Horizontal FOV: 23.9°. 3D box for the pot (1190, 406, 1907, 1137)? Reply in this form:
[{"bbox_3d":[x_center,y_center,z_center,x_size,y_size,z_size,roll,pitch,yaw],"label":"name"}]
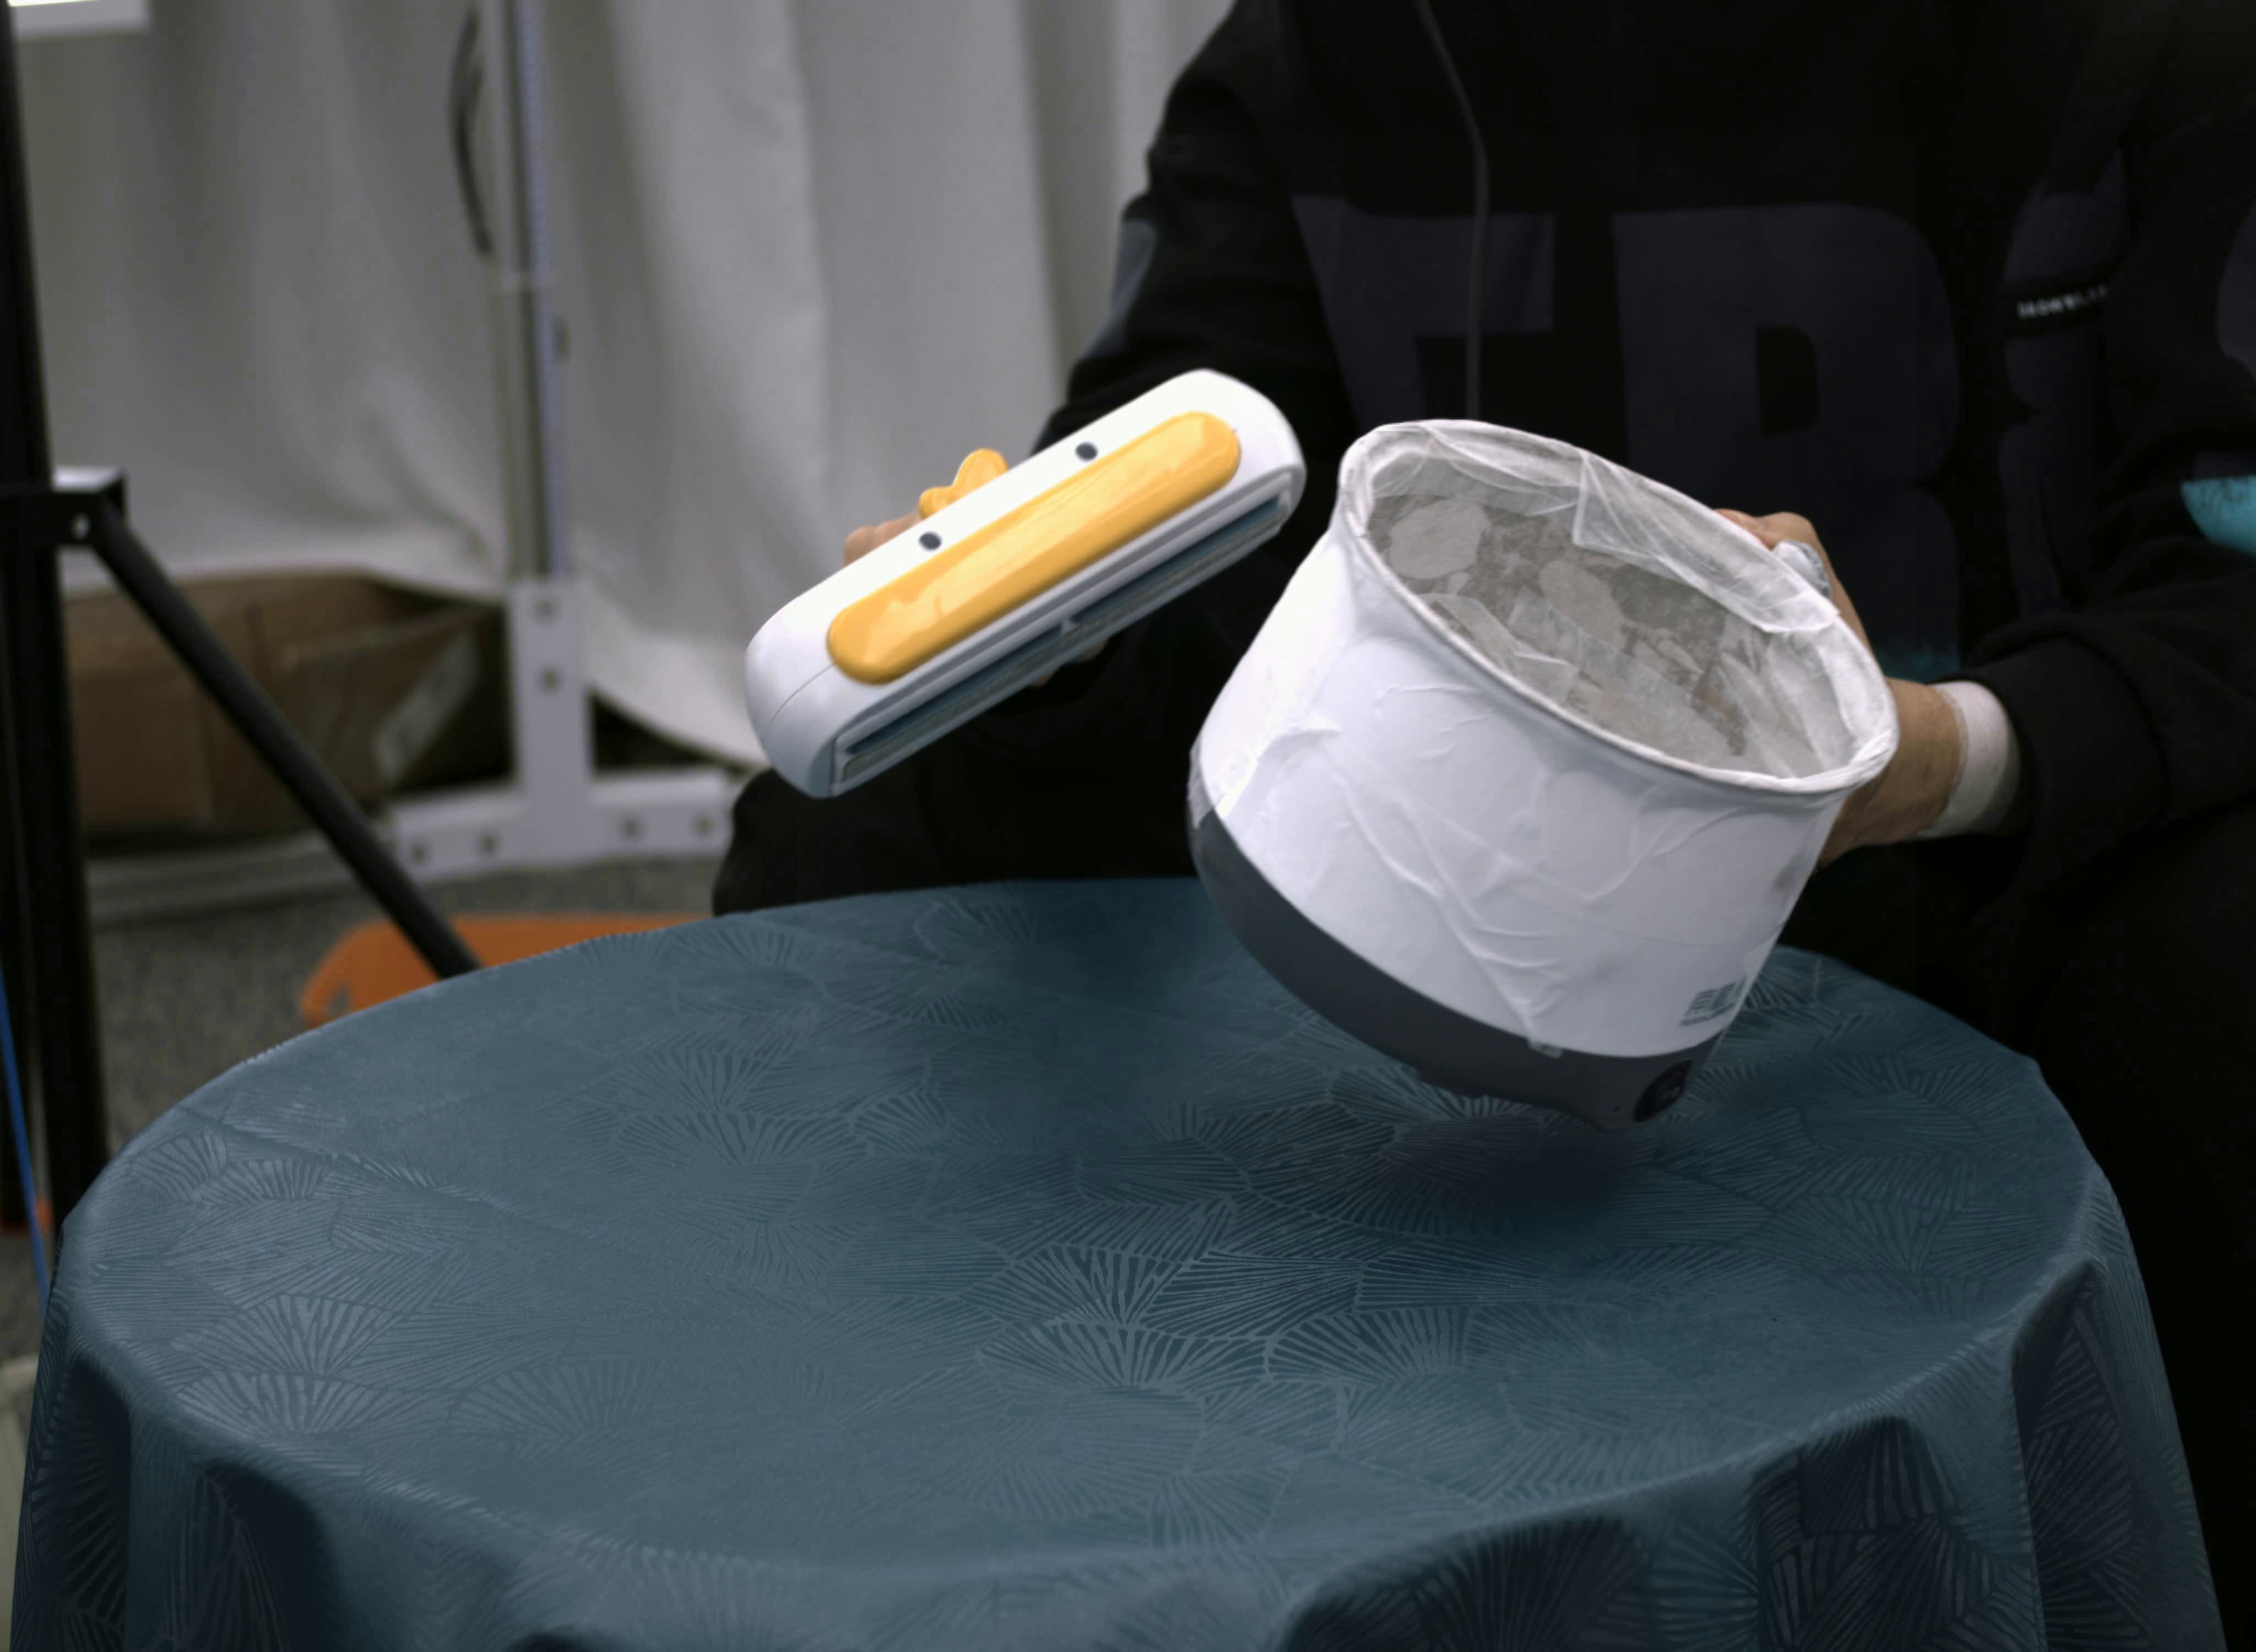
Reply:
[{"bbox_3d":[0.132,-0.020,1.548,0.182,0.137,0.228,42,33,24],"label":"pot"}]

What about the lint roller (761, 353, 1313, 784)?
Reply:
[{"bbox_3d":[-0.044,-0.068,1.703,0.191,0.074,0.193,-35,-7,-19],"label":"lint roller"}]
